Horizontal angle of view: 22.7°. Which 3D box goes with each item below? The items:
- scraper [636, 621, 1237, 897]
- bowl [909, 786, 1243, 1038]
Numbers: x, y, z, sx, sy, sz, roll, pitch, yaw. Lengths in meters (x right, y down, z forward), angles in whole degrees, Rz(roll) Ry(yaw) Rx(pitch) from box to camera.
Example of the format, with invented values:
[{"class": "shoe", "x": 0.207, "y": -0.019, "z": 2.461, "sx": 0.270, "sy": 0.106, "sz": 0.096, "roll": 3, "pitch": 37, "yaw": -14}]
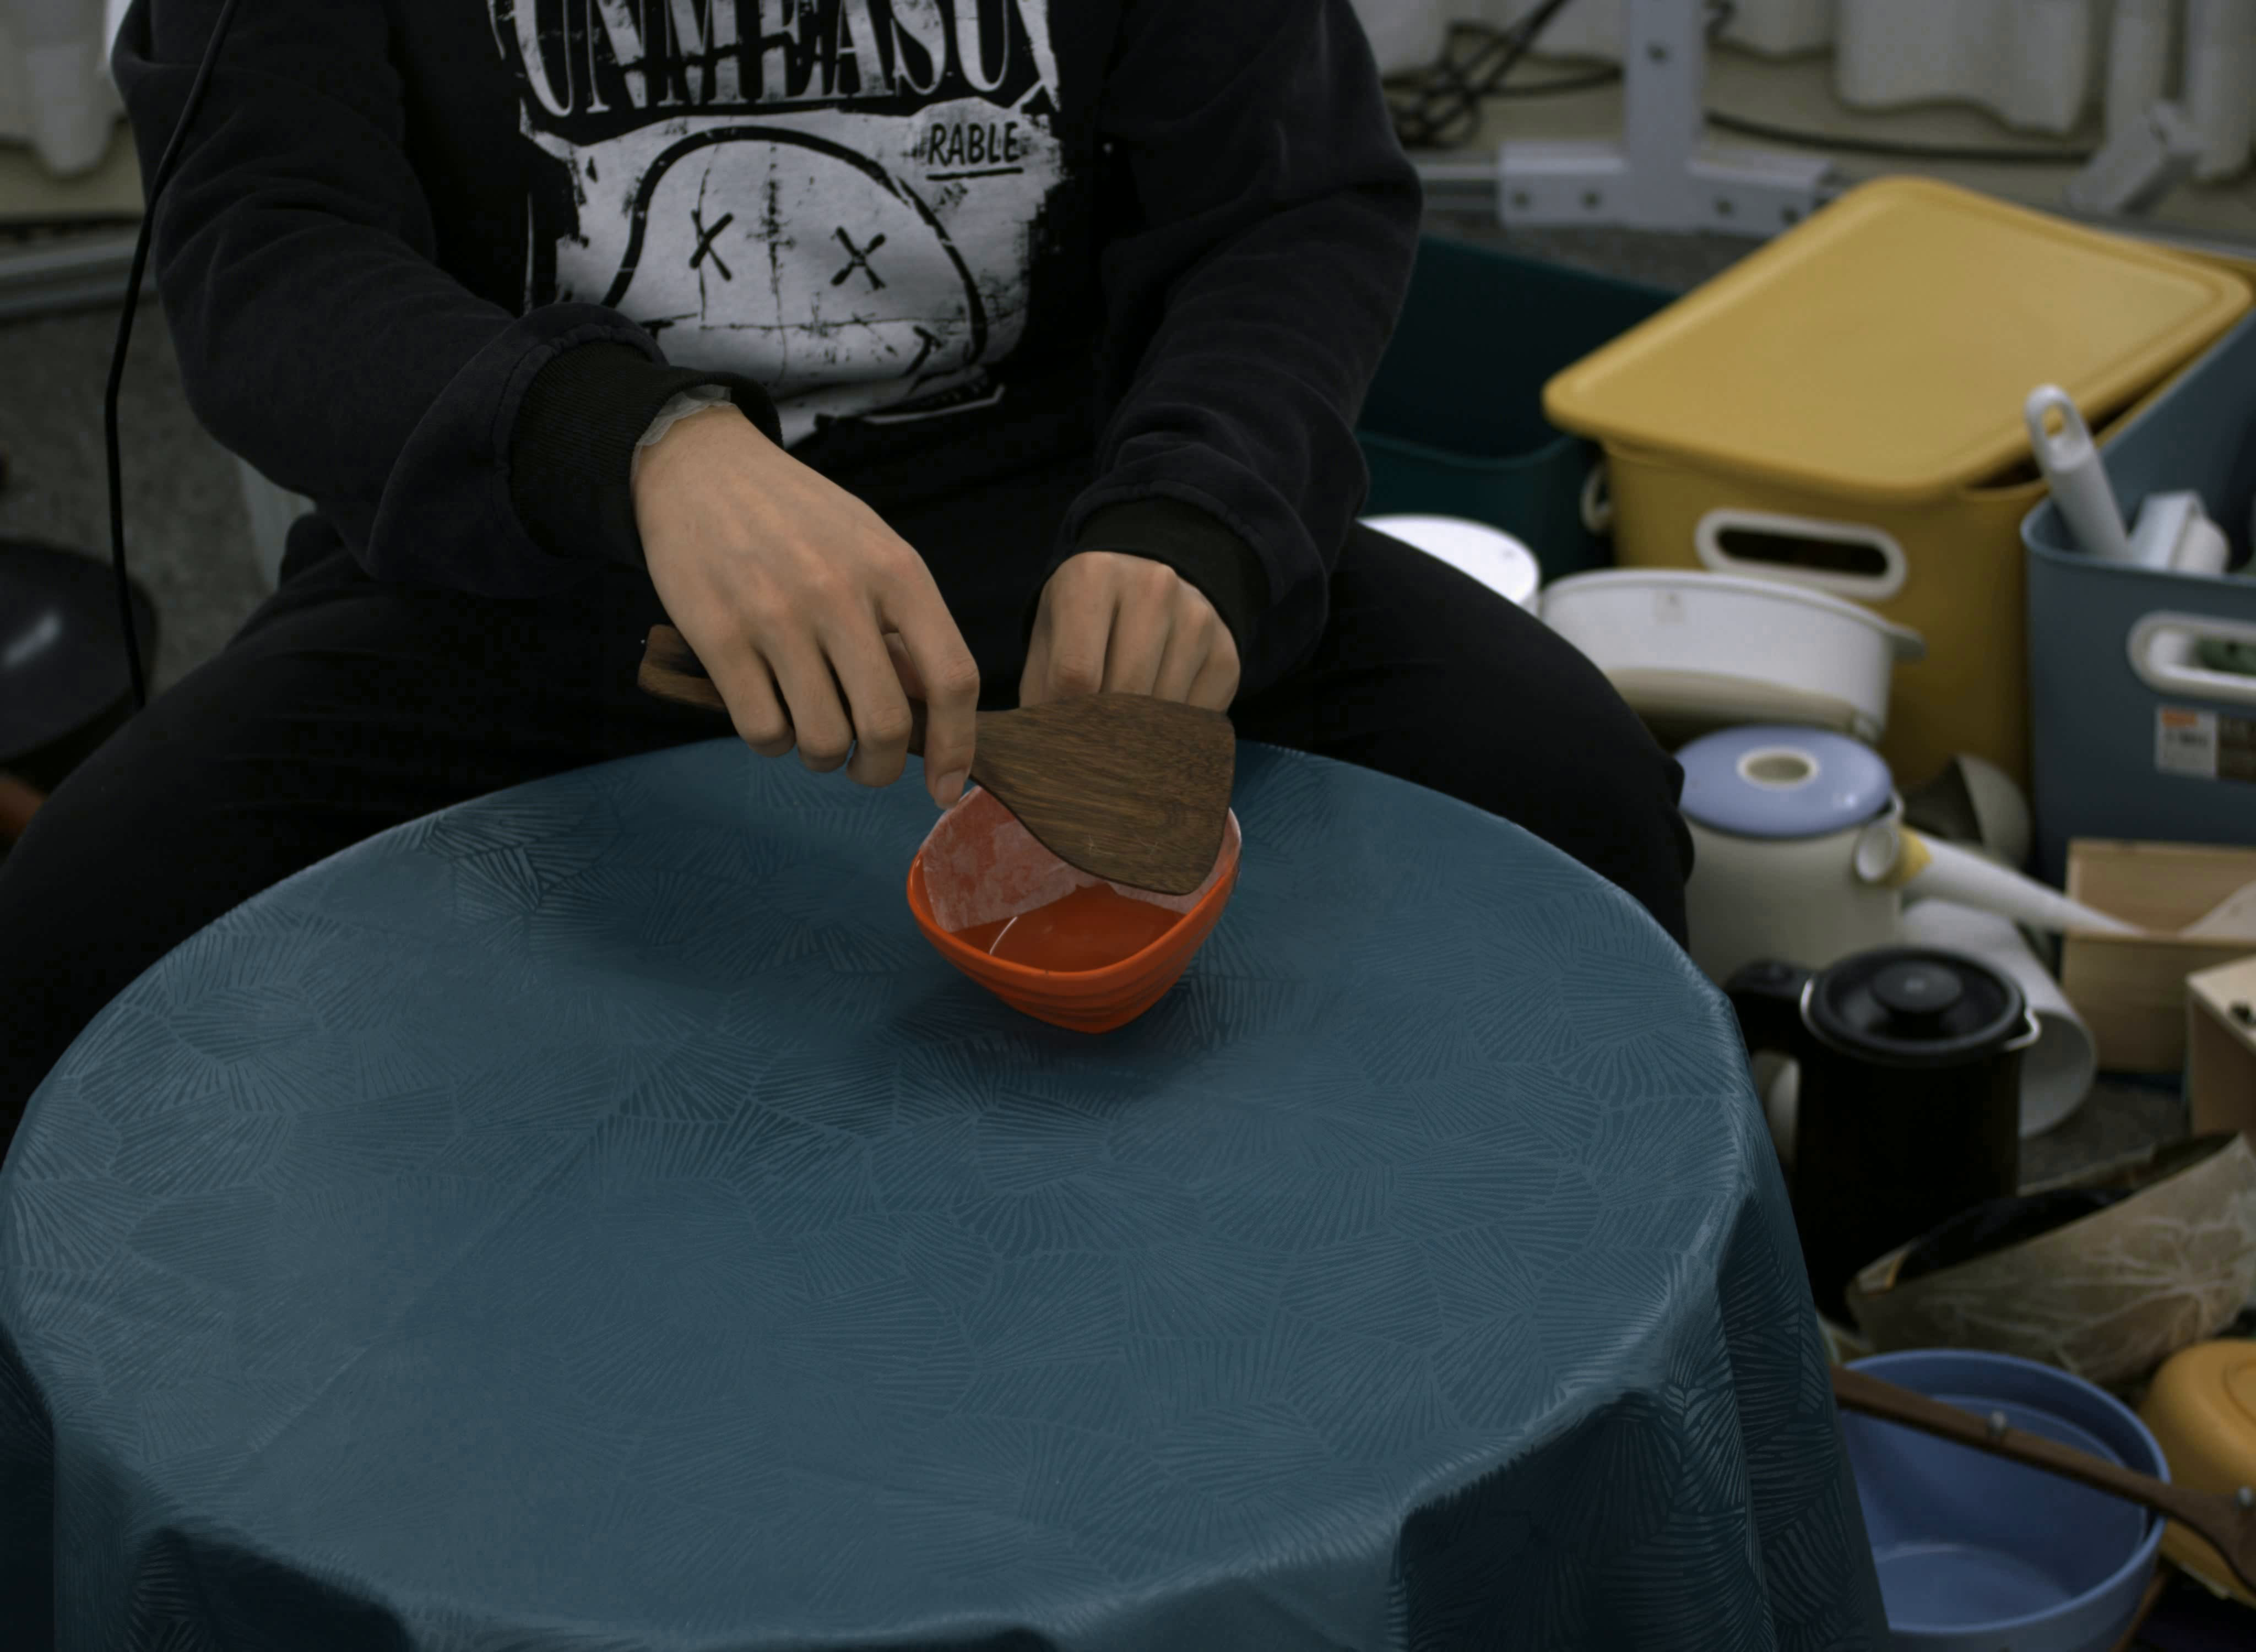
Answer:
[{"class": "scraper", "x": -0.066, "y": -0.032, "z": 1.940, "sx": 0.210, "sy": 0.010, "sz": 0.077, "roll": 16, "pitch": 61, "yaw": -4}, {"class": "bowl", "x": -0.015, "y": 0.030, "z": 1.969, "sx": 0.118, "sy": 0.050, "sz": 0.121, "roll": -6, "pitch": 42, "yaw": 6}]
